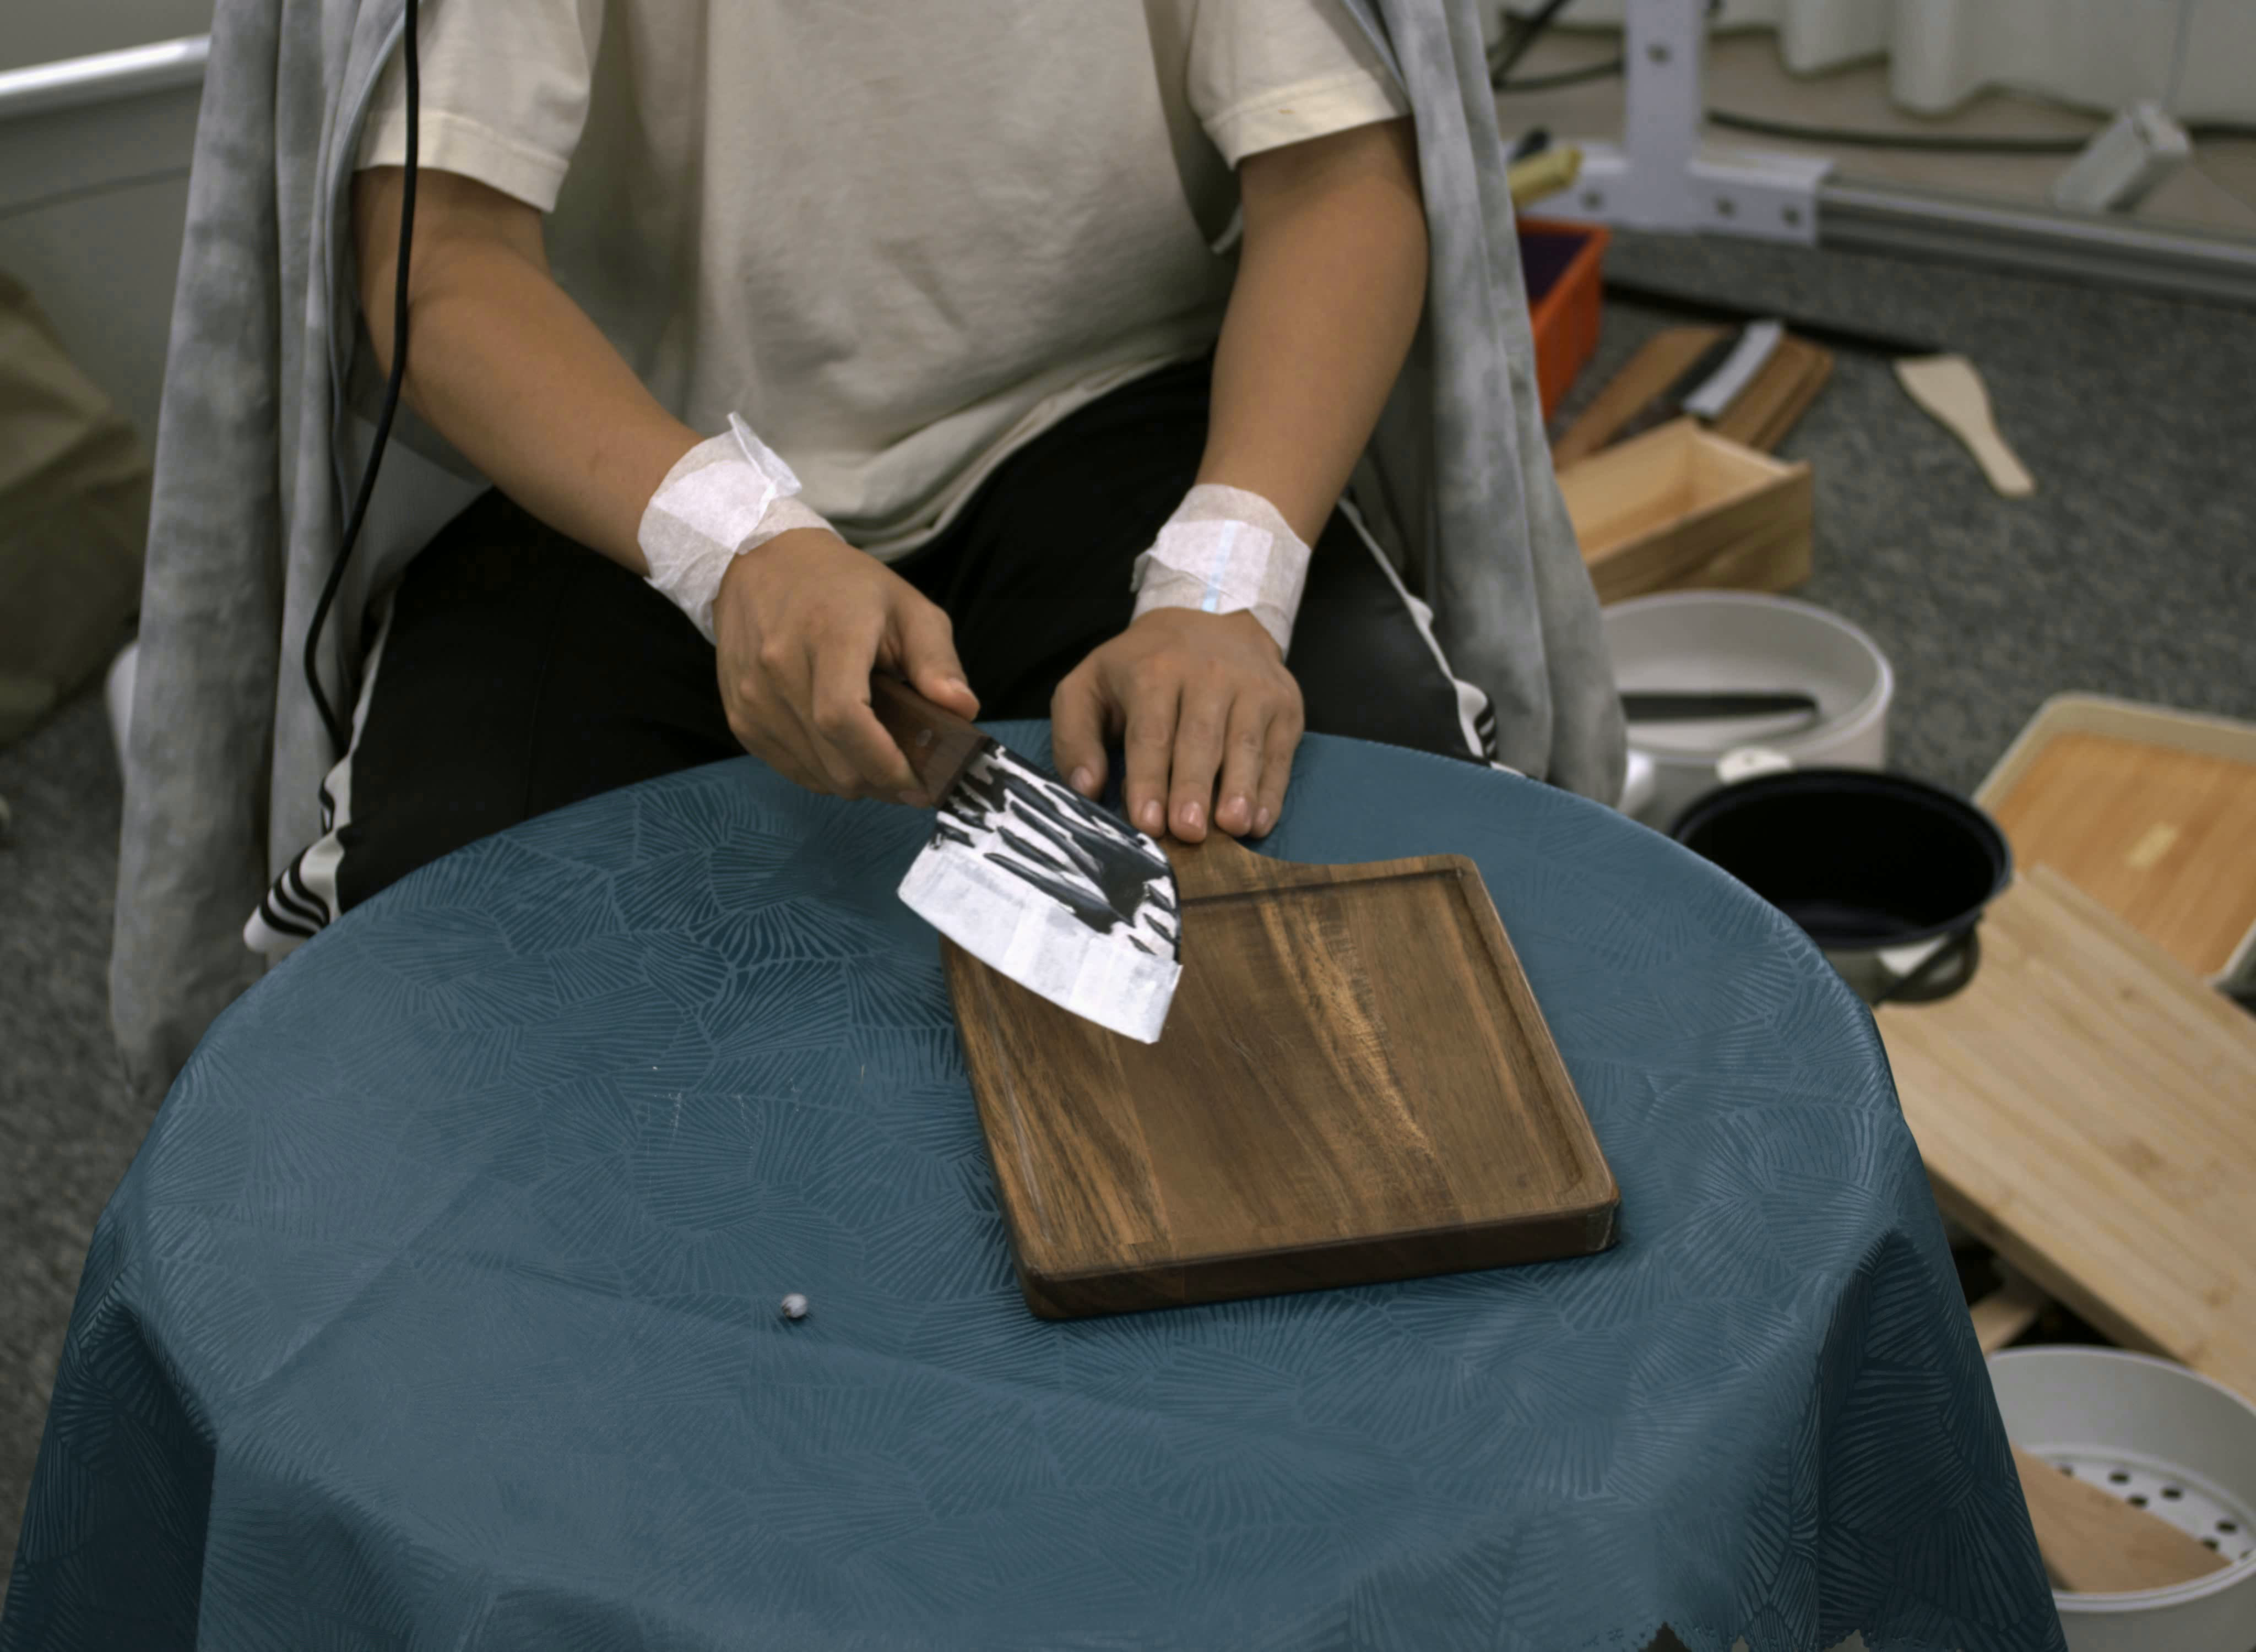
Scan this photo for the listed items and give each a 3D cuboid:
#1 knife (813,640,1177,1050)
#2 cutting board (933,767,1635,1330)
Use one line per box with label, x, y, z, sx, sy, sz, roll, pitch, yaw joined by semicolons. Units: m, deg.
knife;-0.051;0.004;1.962;0.024;0.068;0.300;29;4;-34
cutting board;0.039;0.064;1.951;0.200;0.023;0.356;-8;27;-6
